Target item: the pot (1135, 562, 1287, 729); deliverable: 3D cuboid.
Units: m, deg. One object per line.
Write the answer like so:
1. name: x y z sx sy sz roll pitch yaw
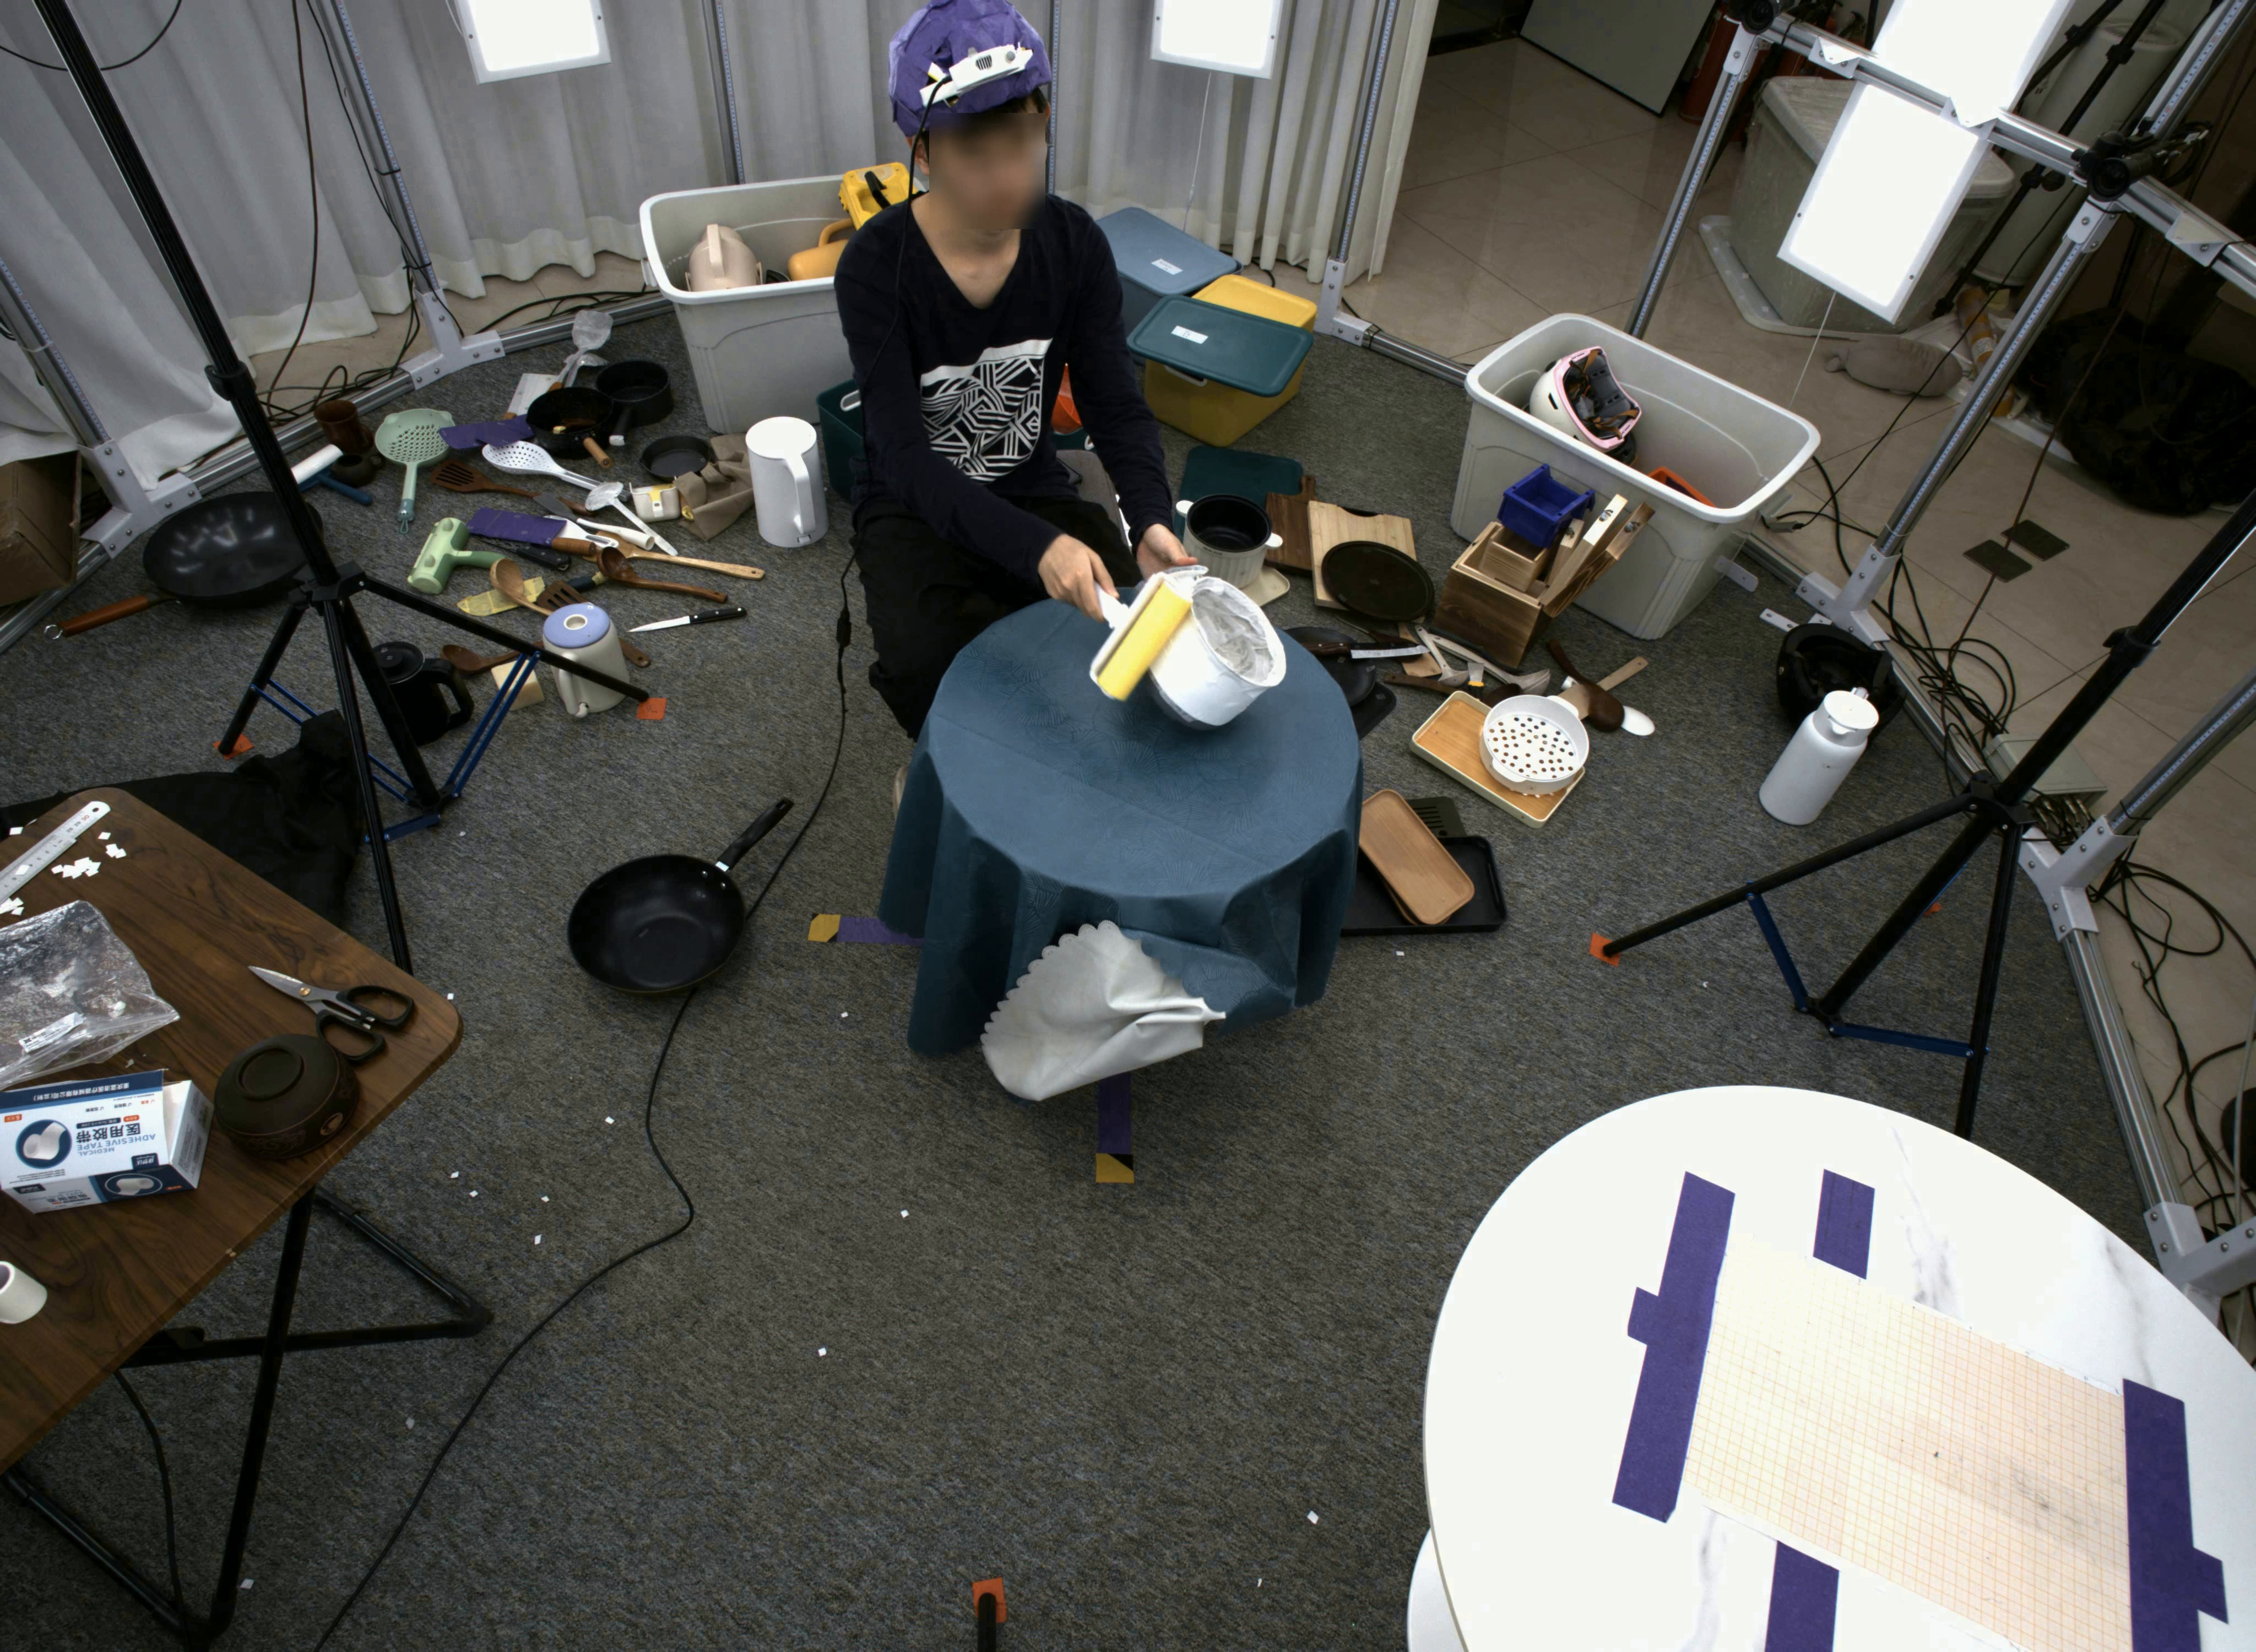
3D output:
1. pot: 0.097 -0.256 1.754 0.179 0.135 0.236 -13 72 -53

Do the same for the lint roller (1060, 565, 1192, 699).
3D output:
1. lint roller: -0.030 -0.291 1.713 0.194 0.173 0.051 42 17 21
